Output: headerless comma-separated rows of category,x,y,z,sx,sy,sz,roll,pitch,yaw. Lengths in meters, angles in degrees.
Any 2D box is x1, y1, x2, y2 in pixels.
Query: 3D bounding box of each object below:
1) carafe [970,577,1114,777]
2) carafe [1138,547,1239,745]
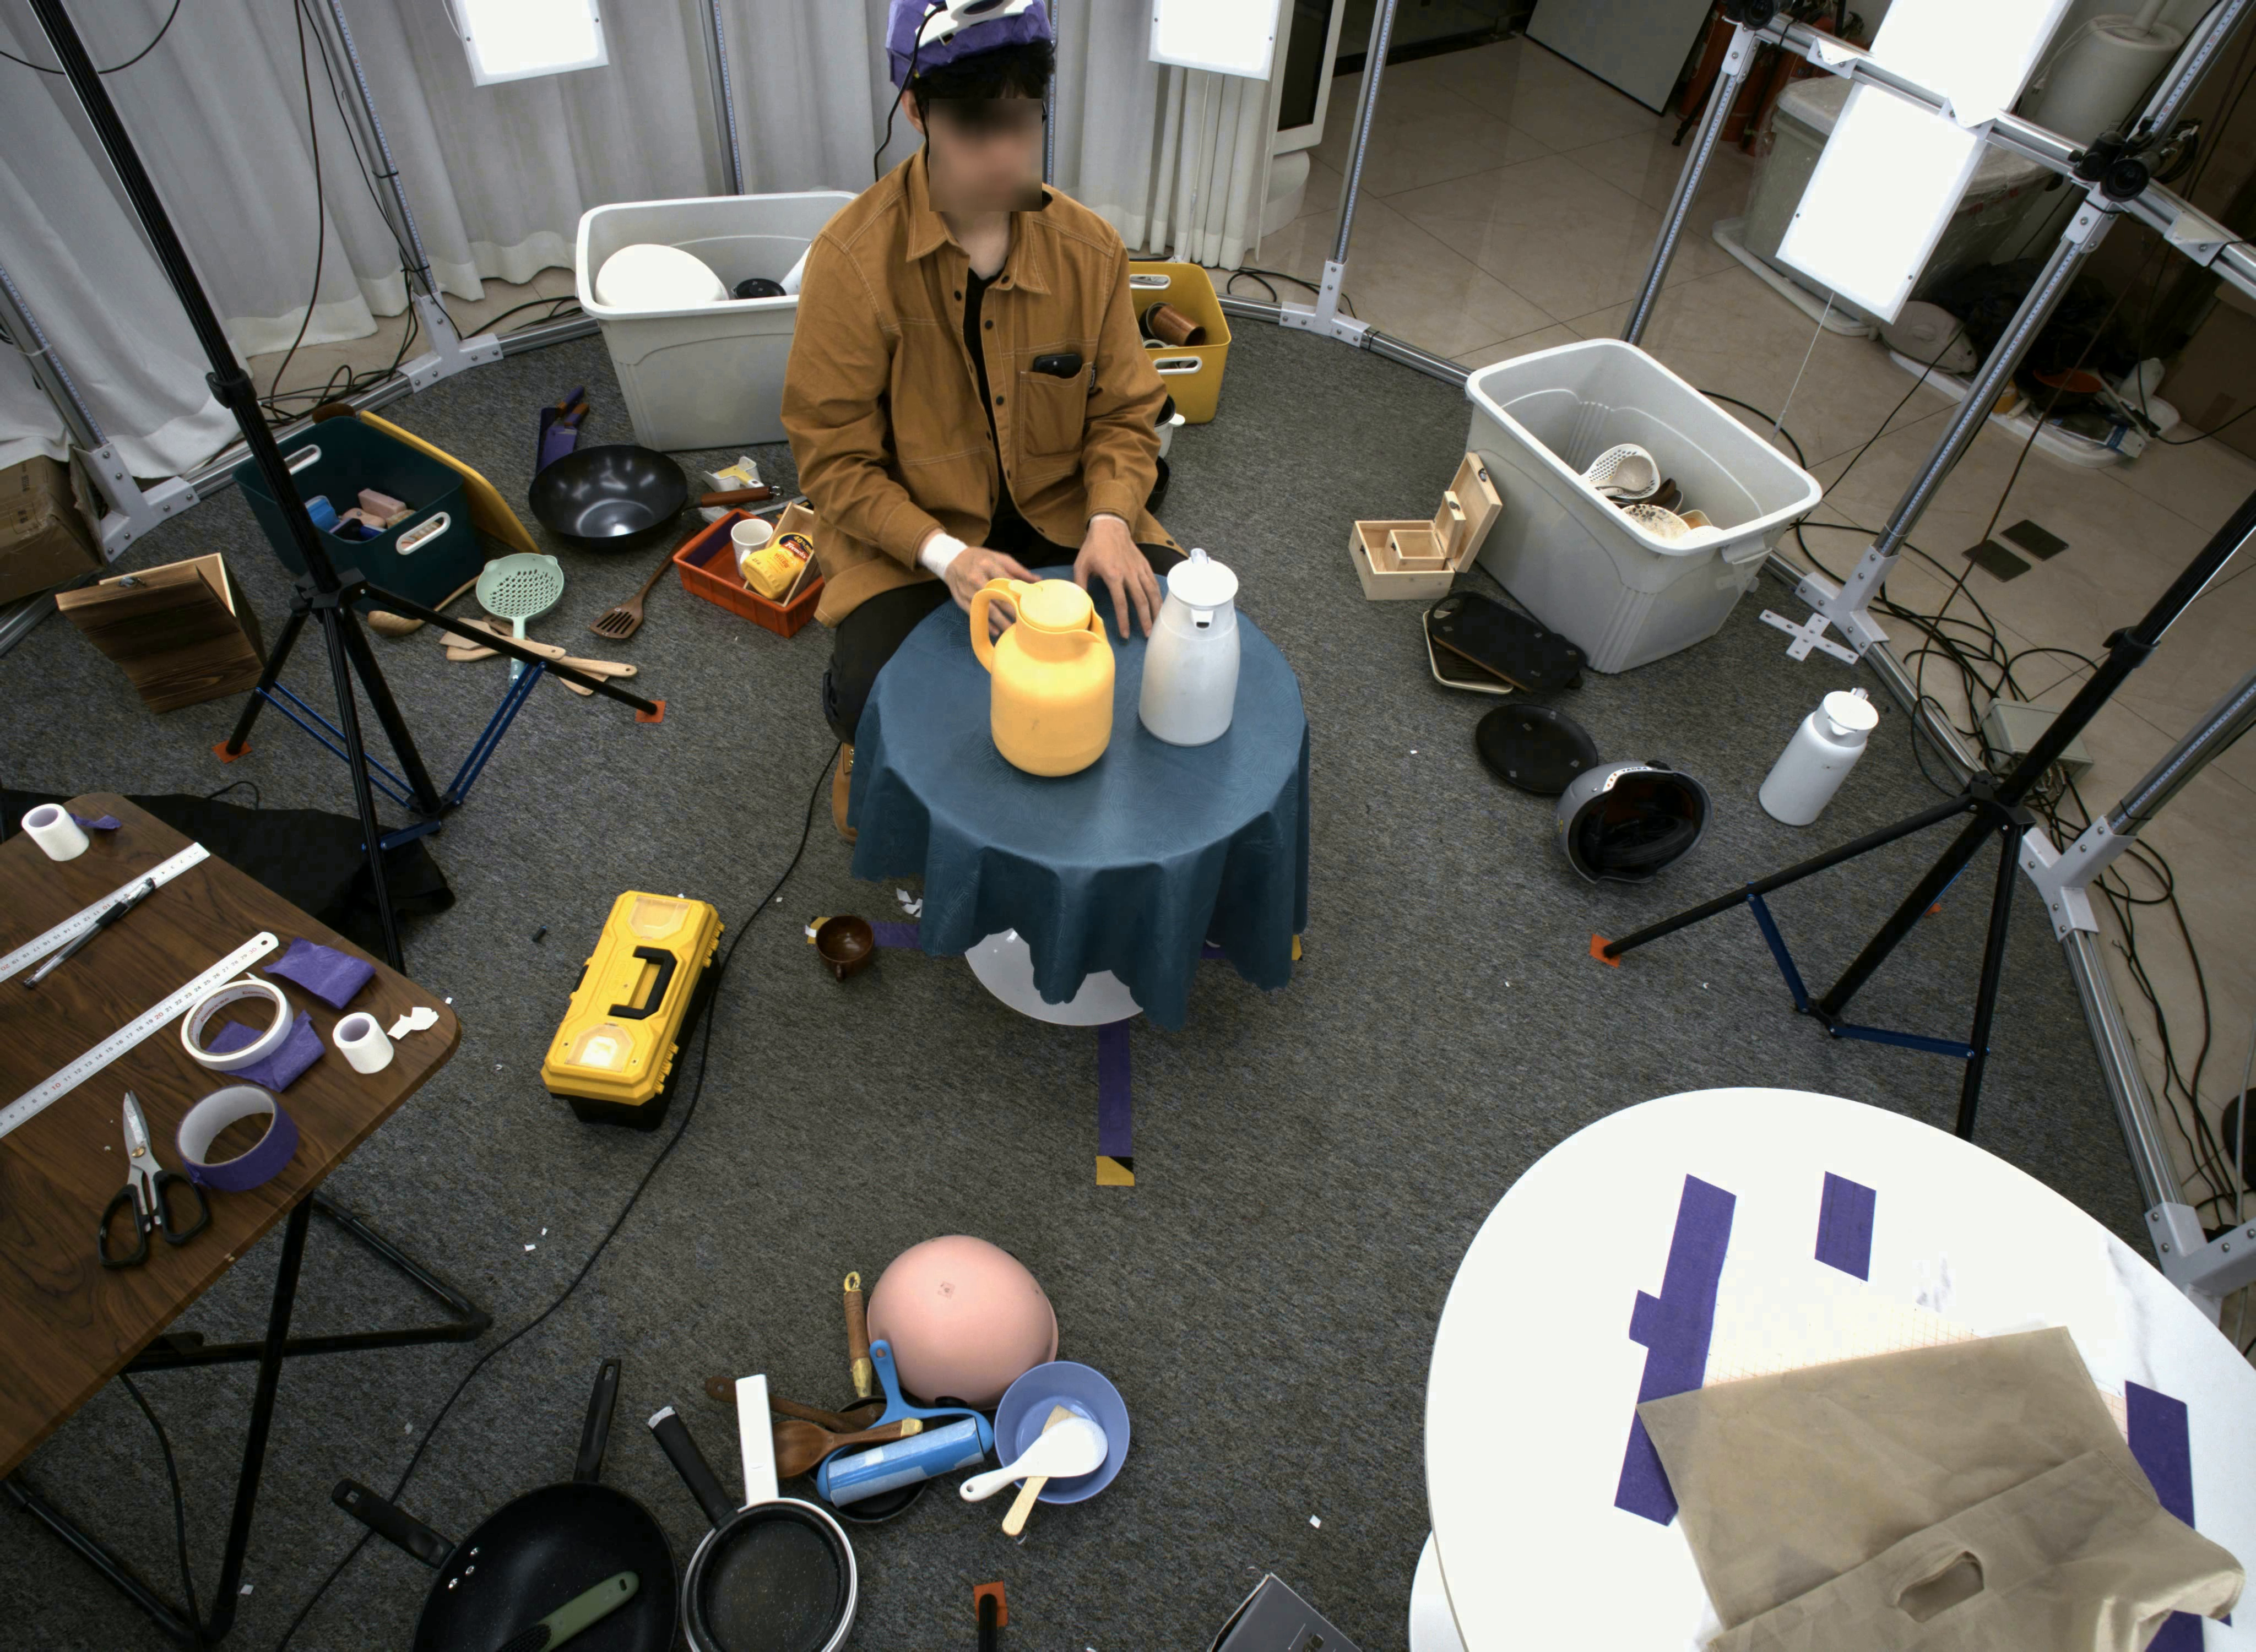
carafe,-0.115,-0.206,1.673,0.204,0.254,0.166,29,51,18
carafe,0.086,-0.254,1.734,0.132,0.242,0.172,2,49,-3
